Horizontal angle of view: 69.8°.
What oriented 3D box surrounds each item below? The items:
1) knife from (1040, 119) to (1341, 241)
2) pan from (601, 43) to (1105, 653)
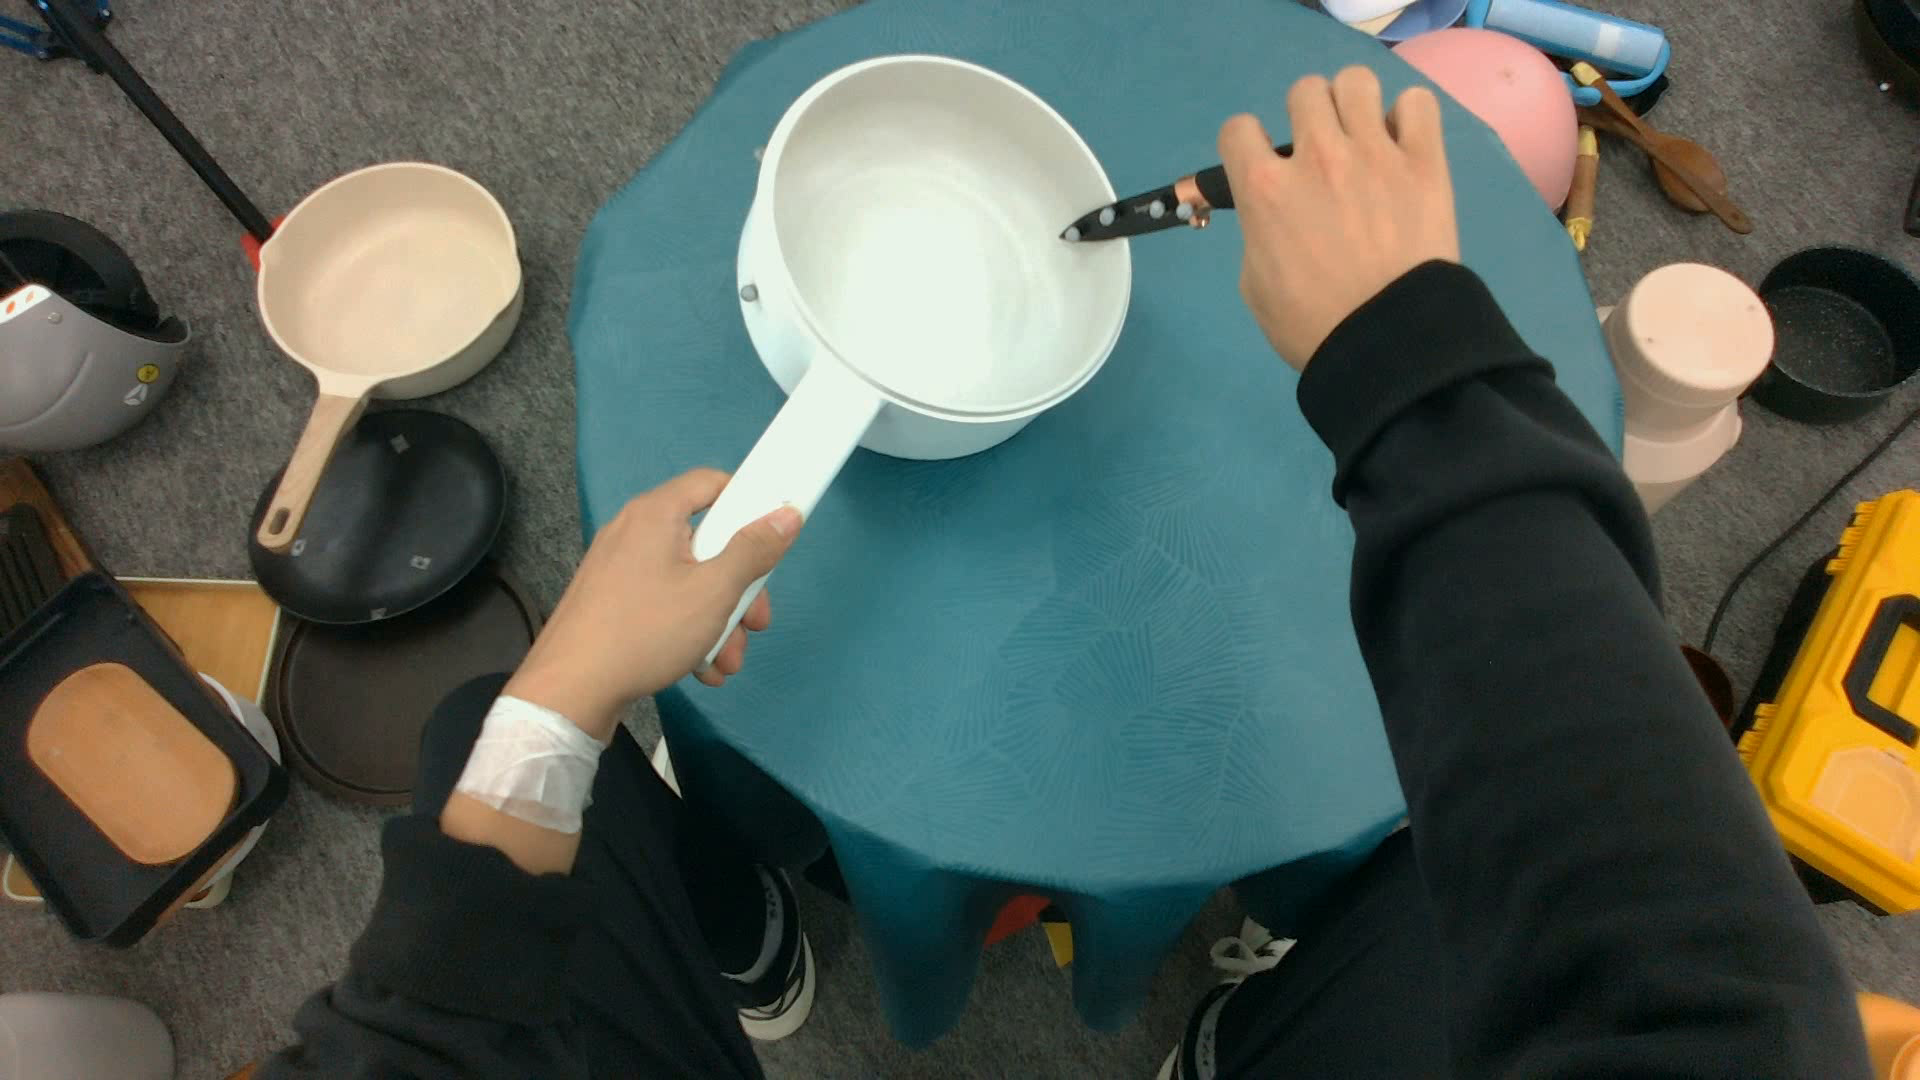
[{"bbox_3d":[0.101,-0.173,0.677,0.017,0.225,0.026,-49,114,-21],"label":"knife"},{"bbox_3d":[-0.068,-0.091,0.706,0.201,0.101,0.356,36,65,-11],"label":"pan"}]
